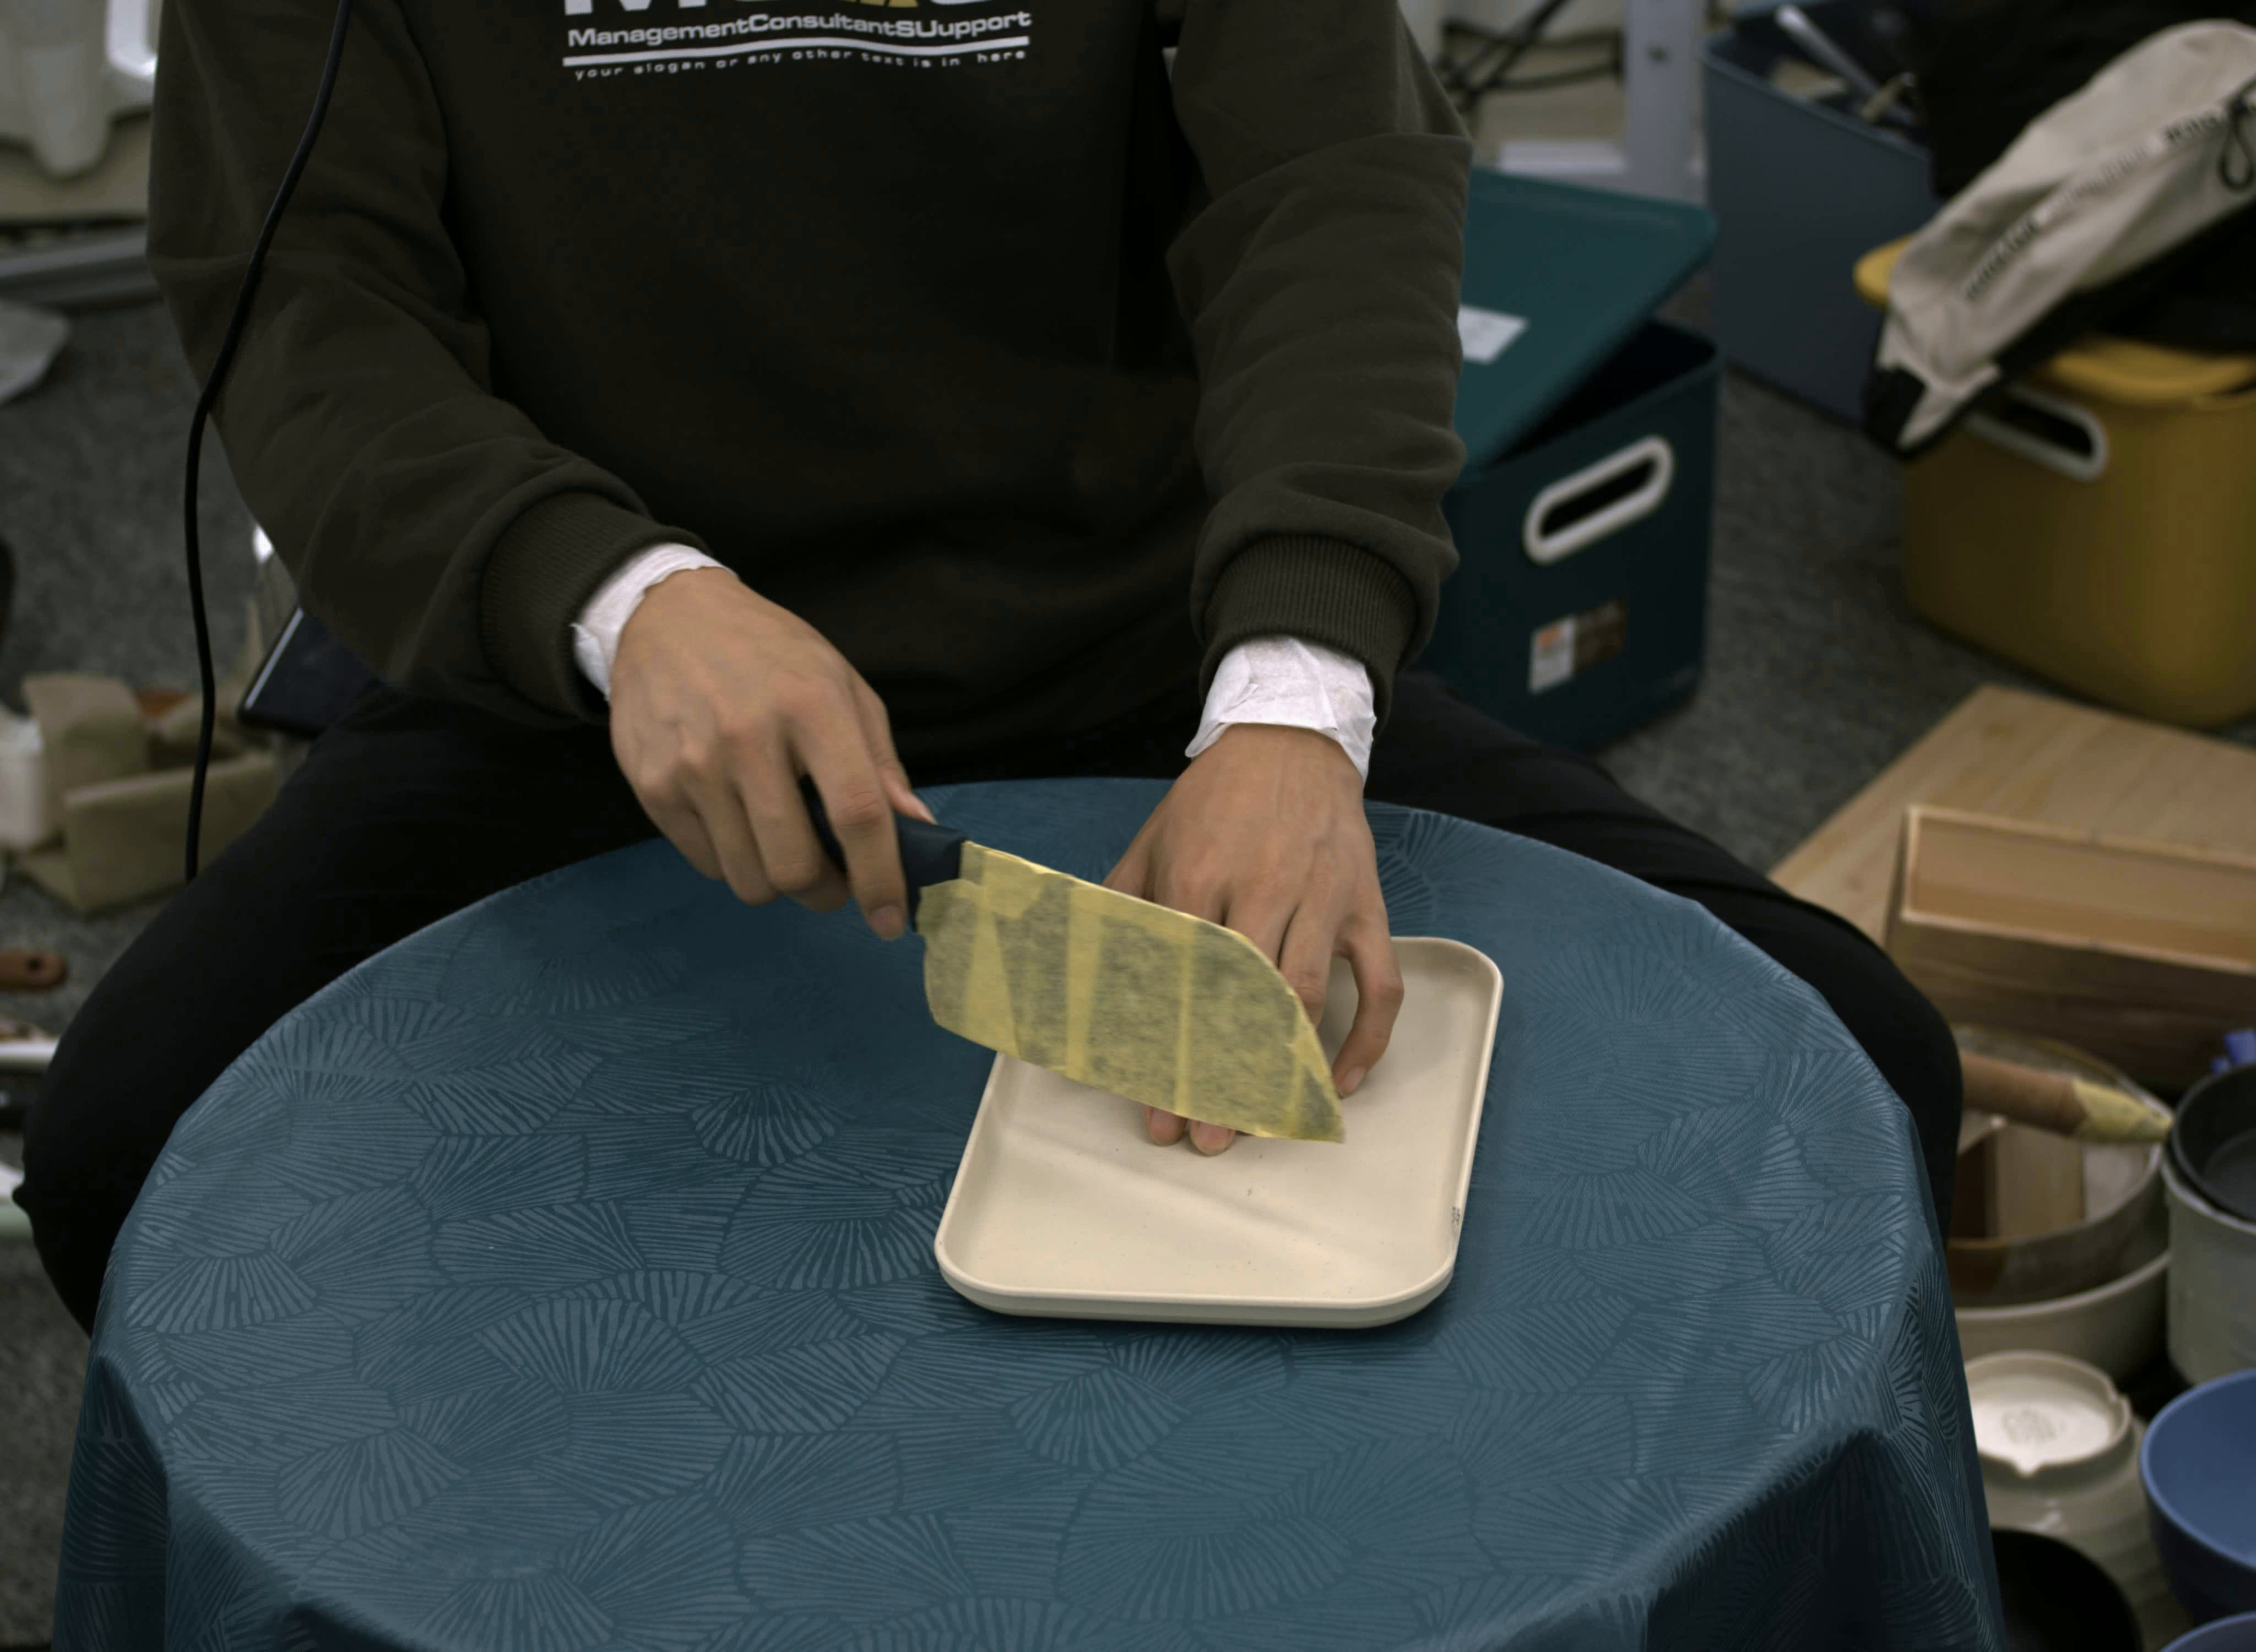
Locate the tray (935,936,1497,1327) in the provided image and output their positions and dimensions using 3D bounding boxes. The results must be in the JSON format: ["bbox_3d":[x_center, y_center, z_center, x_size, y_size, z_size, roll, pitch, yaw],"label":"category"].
[{"bbox_3d":[0.033,0.101,1.880,0.170,0.017,0.243,1,27,8],"label":"tray"}]

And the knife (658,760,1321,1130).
[{"bbox_3d":[-0.049,0.038,1.878,0.289,0.080,0.027,22,26,34],"label":"knife"}]
